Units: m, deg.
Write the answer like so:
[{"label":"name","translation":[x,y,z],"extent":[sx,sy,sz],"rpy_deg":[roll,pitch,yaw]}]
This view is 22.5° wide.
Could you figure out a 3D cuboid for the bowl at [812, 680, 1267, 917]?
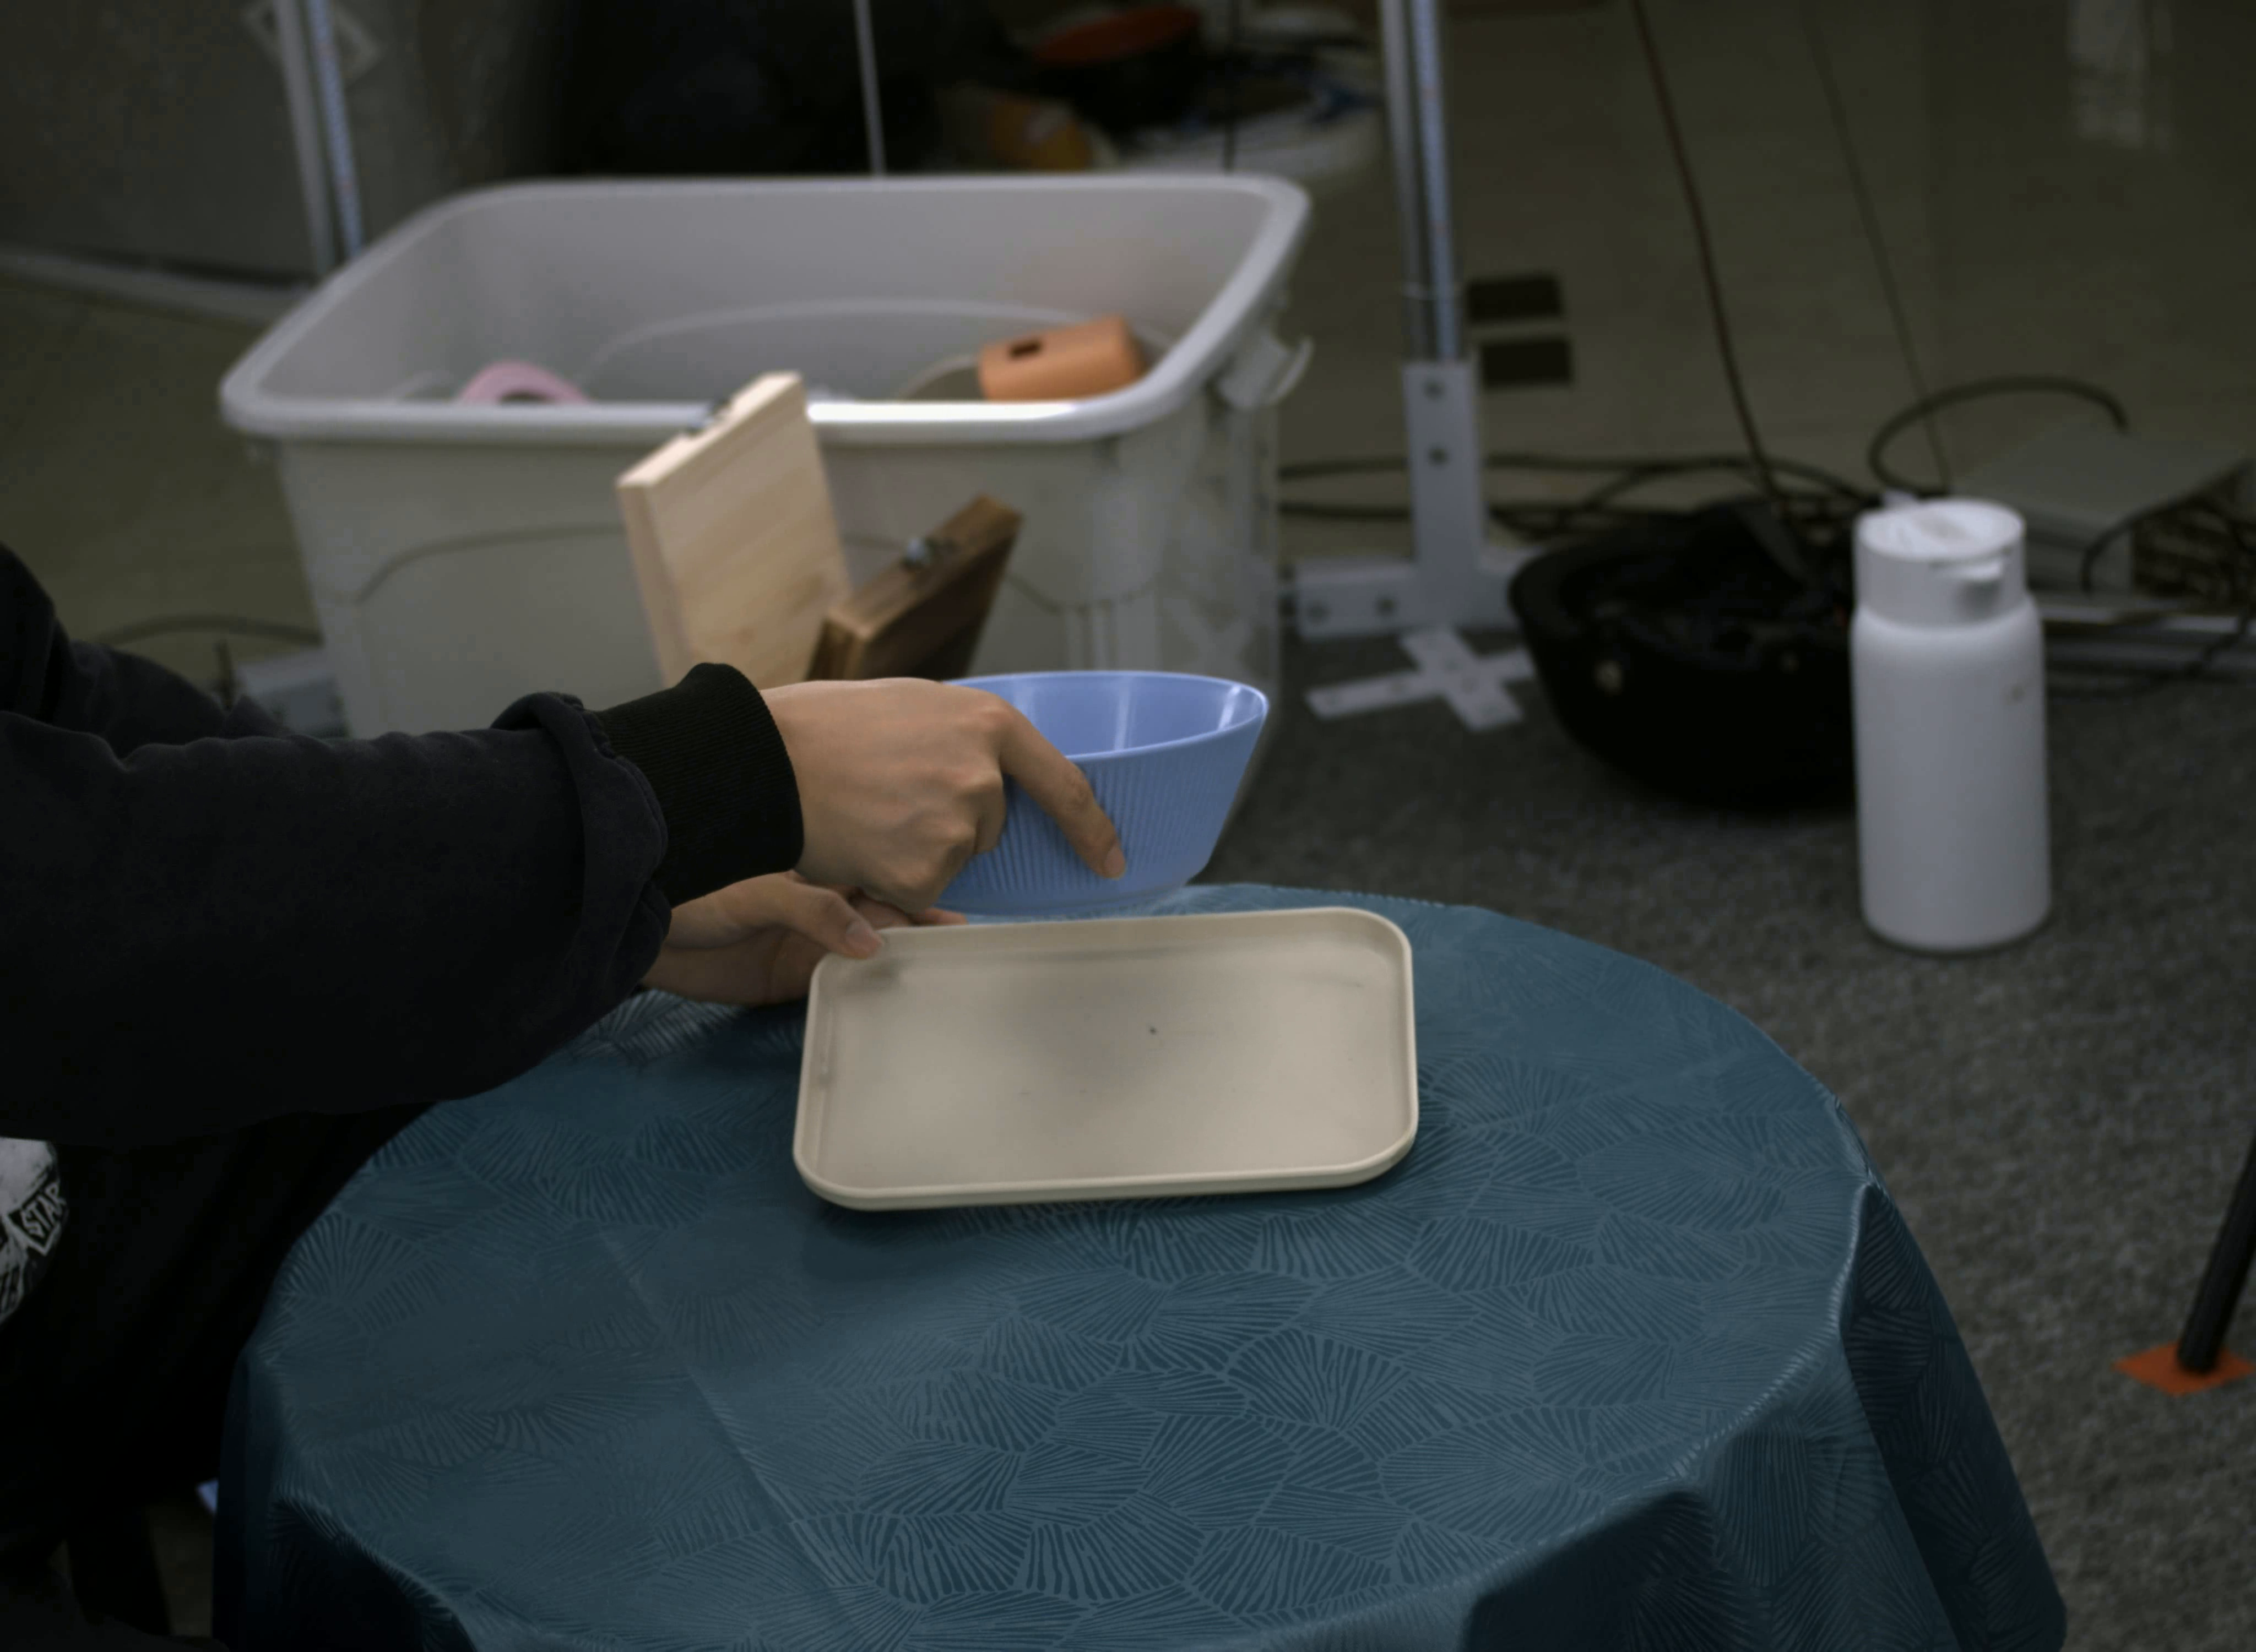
[{"label":"bowl","translation":[-0.032,-0.010,2.172],"extent":[0.176,0.071,0.175],"rpy_deg":[-4,10,1]}]

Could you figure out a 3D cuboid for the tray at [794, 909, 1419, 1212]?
[{"label":"tray","translation":[-0.007,0.092,2.200],"extent":[0.239,0.018,0.168],"rpy_deg":[-3,35,4]}]
